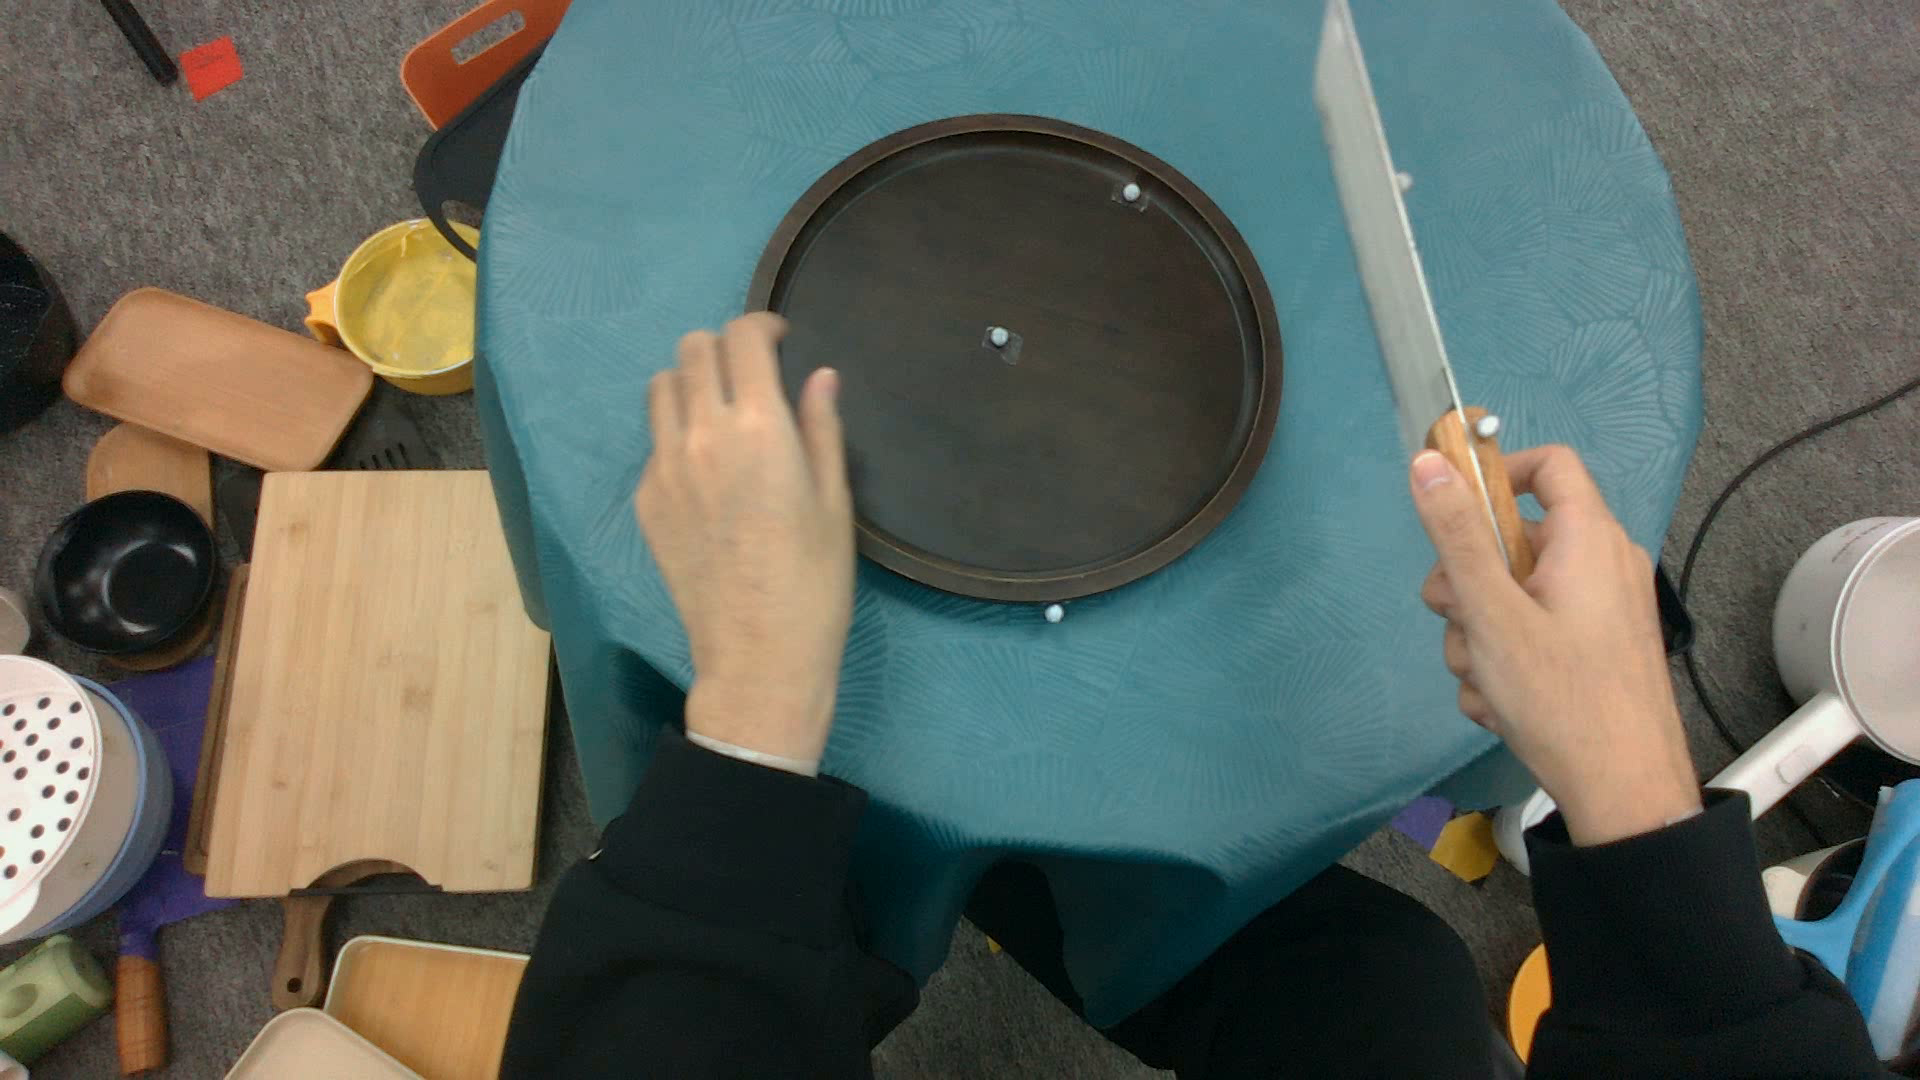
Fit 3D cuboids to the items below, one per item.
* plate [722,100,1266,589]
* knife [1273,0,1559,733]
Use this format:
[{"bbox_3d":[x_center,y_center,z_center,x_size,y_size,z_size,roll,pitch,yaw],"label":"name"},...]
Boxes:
[{"bbox_3d":[0.017,-0.096,0.644,0.255,0.029,0.255,1,69,-2],"label":"plate"},{"bbox_3d":[0.168,-0.072,0.541,0.021,0.093,0.306,-14,76,4],"label":"knife"}]
